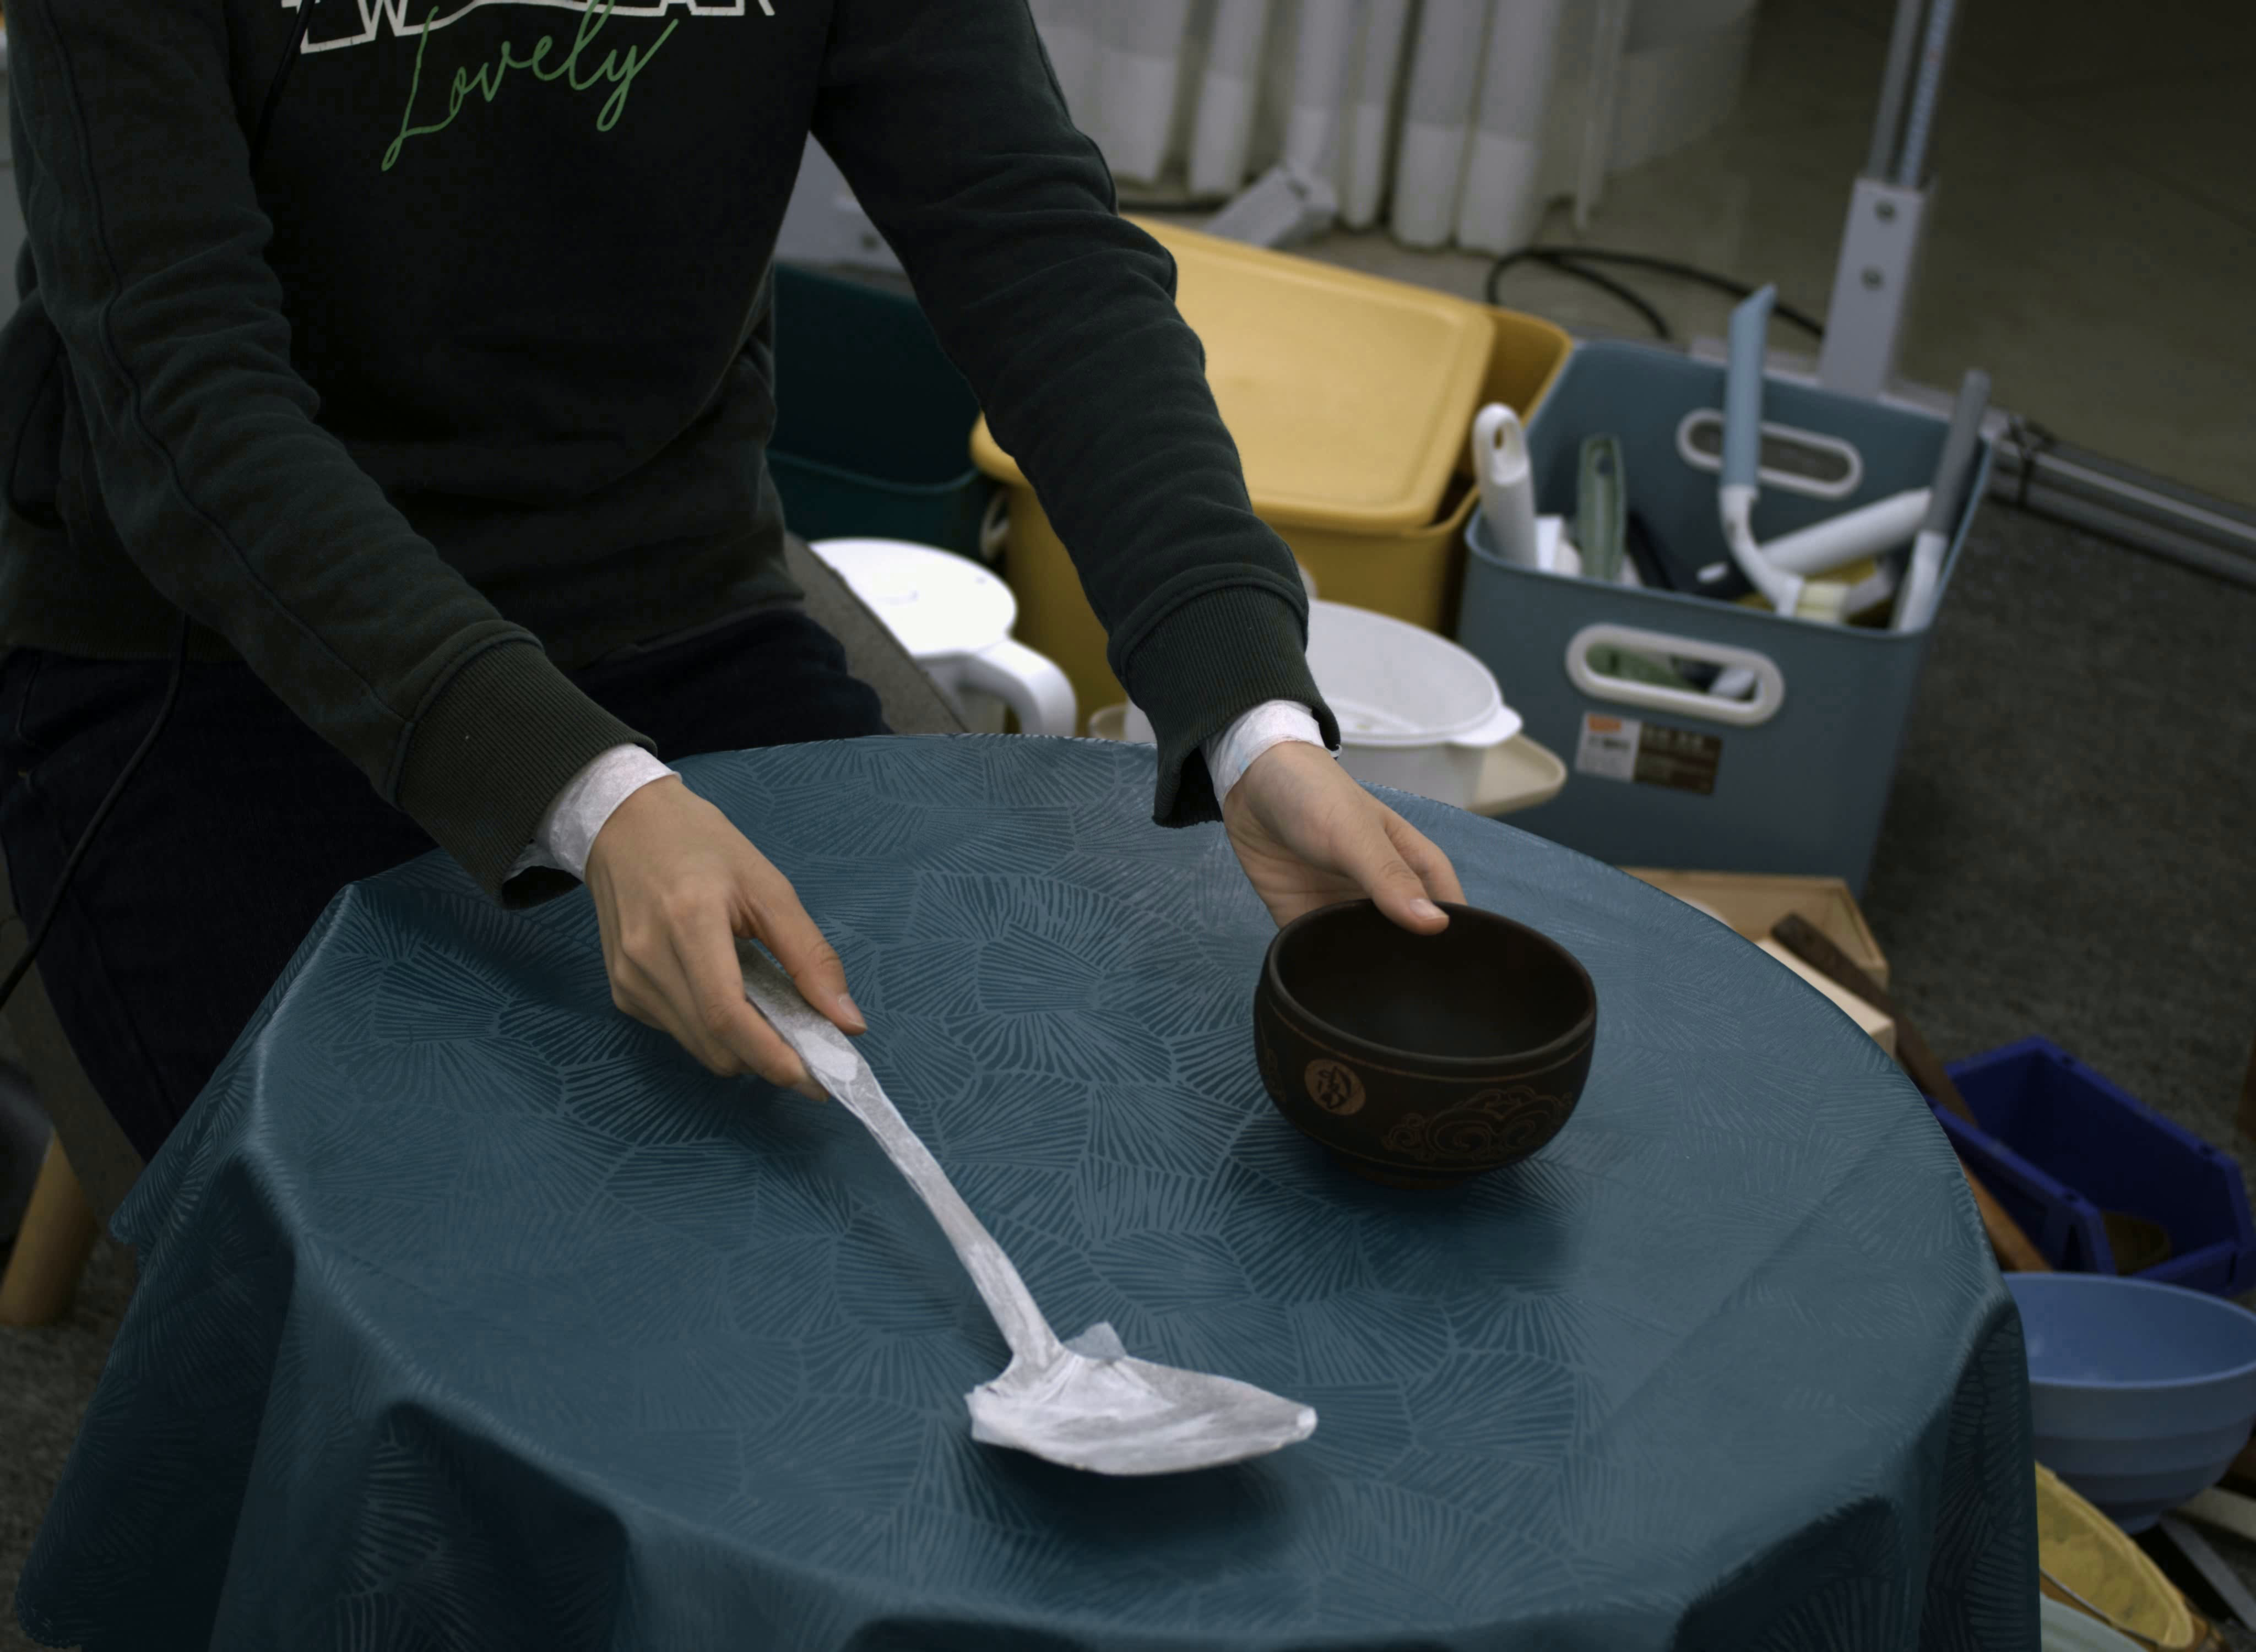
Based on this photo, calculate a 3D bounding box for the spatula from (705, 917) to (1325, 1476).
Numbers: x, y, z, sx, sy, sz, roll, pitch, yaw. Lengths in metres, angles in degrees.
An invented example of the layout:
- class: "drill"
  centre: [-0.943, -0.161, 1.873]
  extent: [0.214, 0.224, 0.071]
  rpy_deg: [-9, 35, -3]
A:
- class: "spatula"
  centre: [-0.061, 0.112, 1.743]
  extent: [0.098, 0.044, 0.368]
  rpy_deg: [-8, 36, -29]

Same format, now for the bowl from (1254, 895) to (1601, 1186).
- class: "bowl"
  centre: [0.100, 0.080, 1.829]
  extent: [0.117, 0.069, 0.119]
  rpy_deg: [6, 26, -3]
